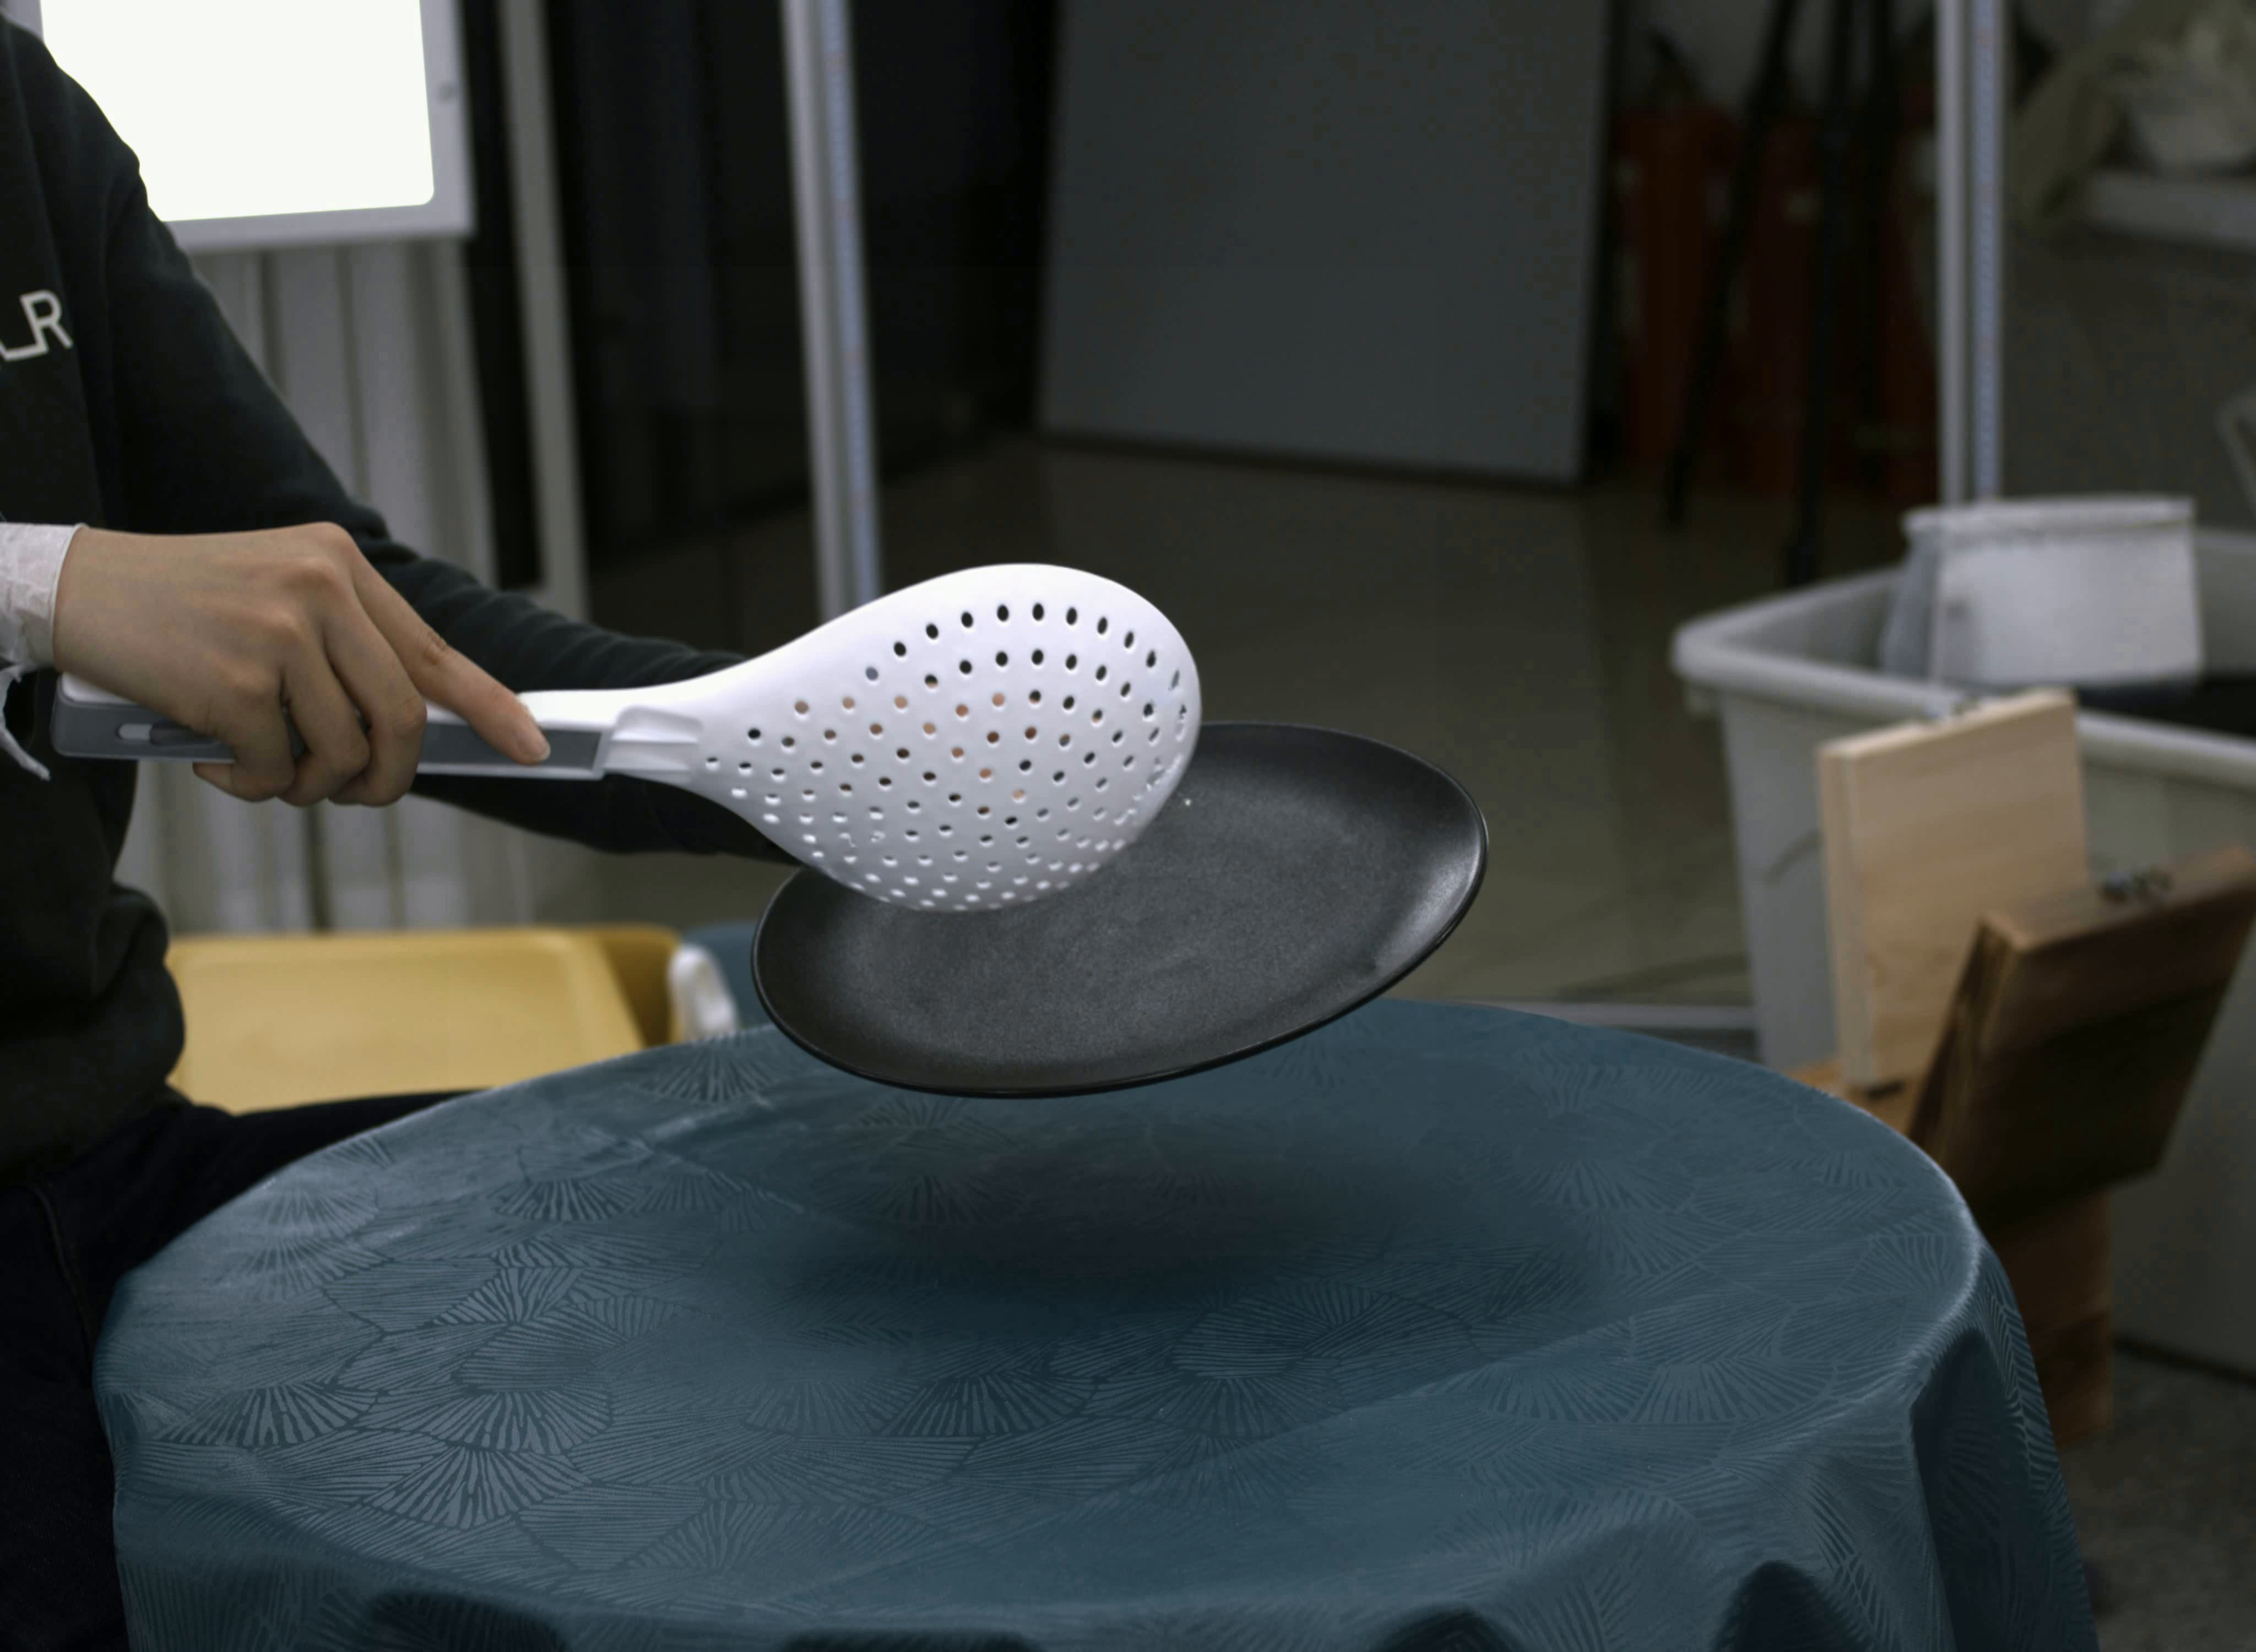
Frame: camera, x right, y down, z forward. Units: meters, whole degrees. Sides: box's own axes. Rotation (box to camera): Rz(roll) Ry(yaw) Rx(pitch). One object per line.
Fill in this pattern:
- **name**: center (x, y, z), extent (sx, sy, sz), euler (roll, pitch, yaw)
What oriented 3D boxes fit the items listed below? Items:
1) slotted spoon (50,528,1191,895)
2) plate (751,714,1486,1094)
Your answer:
- **slotted spoon**: center (-0.143, -0.033, 1.600), extent (0.342, 0.137, 0.046), euler (5, 37, -16)
- **plate**: center (-0.002, 0.029, 1.738), extent (0.242, 0.023, 0.245), euler (-10, 26, 4)
